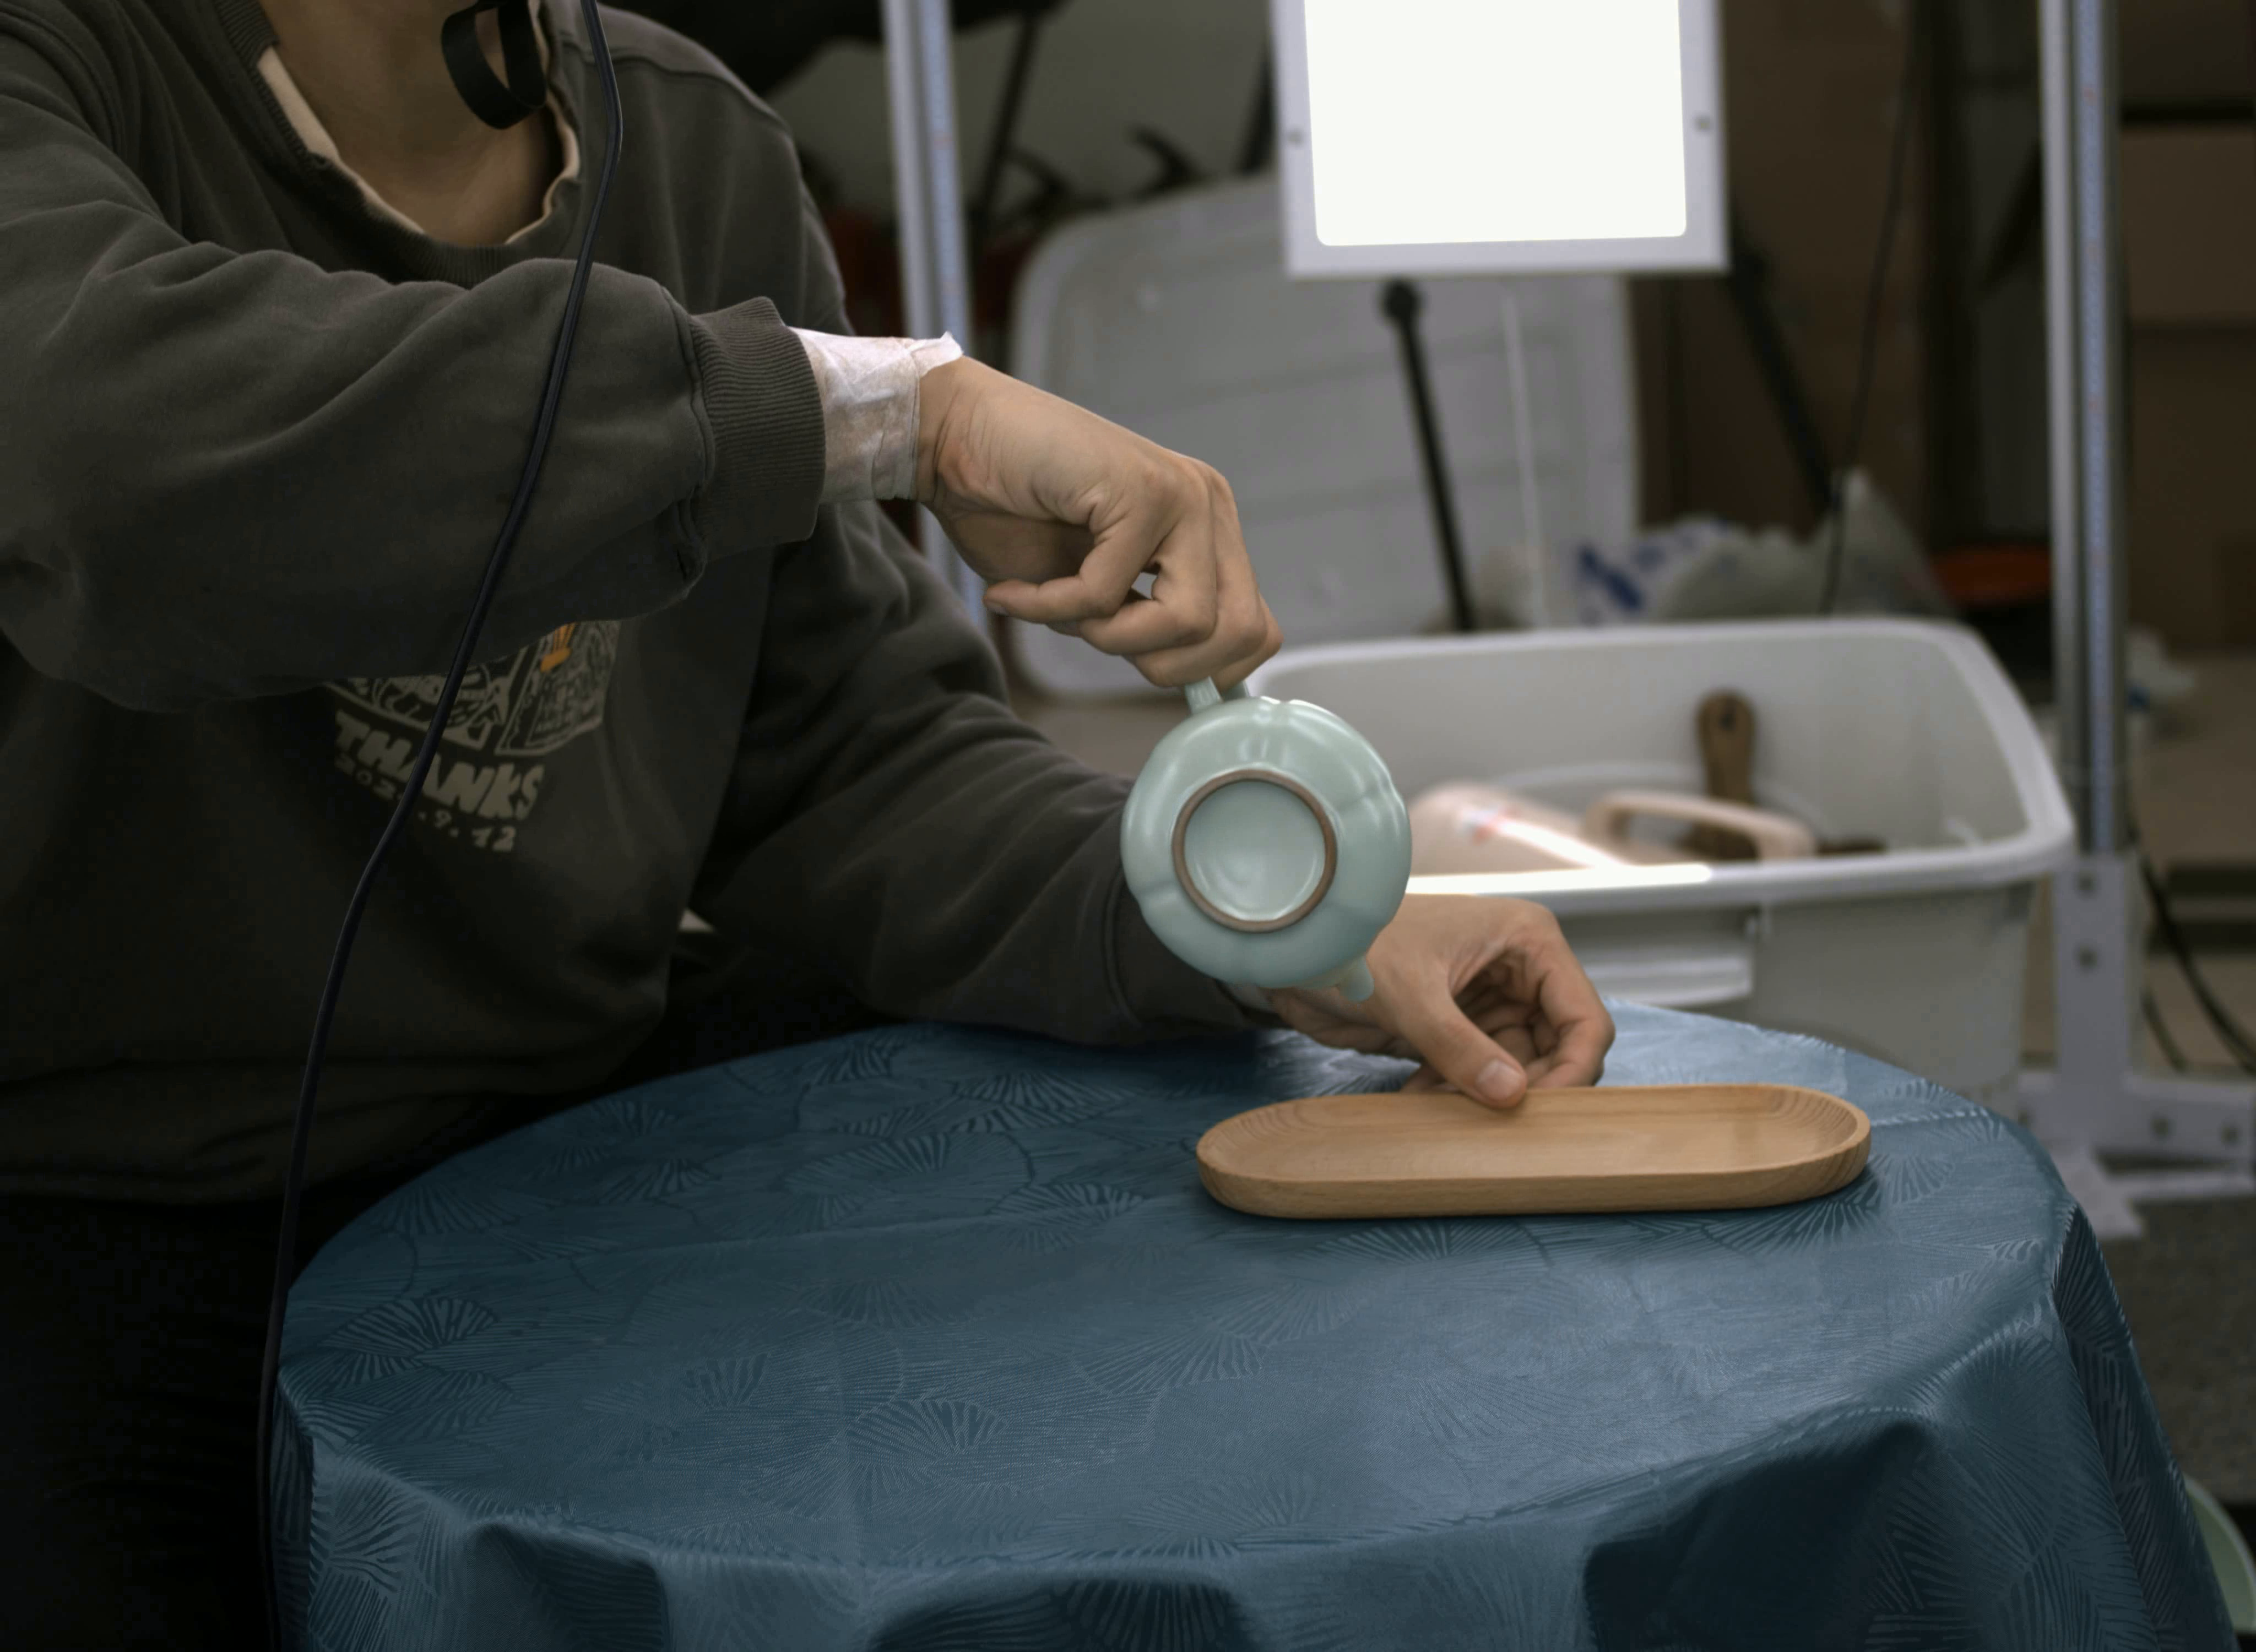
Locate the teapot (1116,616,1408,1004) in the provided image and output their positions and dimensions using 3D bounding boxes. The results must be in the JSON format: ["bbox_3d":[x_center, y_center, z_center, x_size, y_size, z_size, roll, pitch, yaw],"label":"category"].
[{"bbox_3d":[0.045,-0.002,1.796,0.097,0.137,0.060,-19,3,19],"label":"teapot"}]

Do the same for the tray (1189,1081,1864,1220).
[{"bbox_3d":[0.136,0.111,1.874,0.232,0.020,0.100,-4,14,11],"label":"tray"}]
